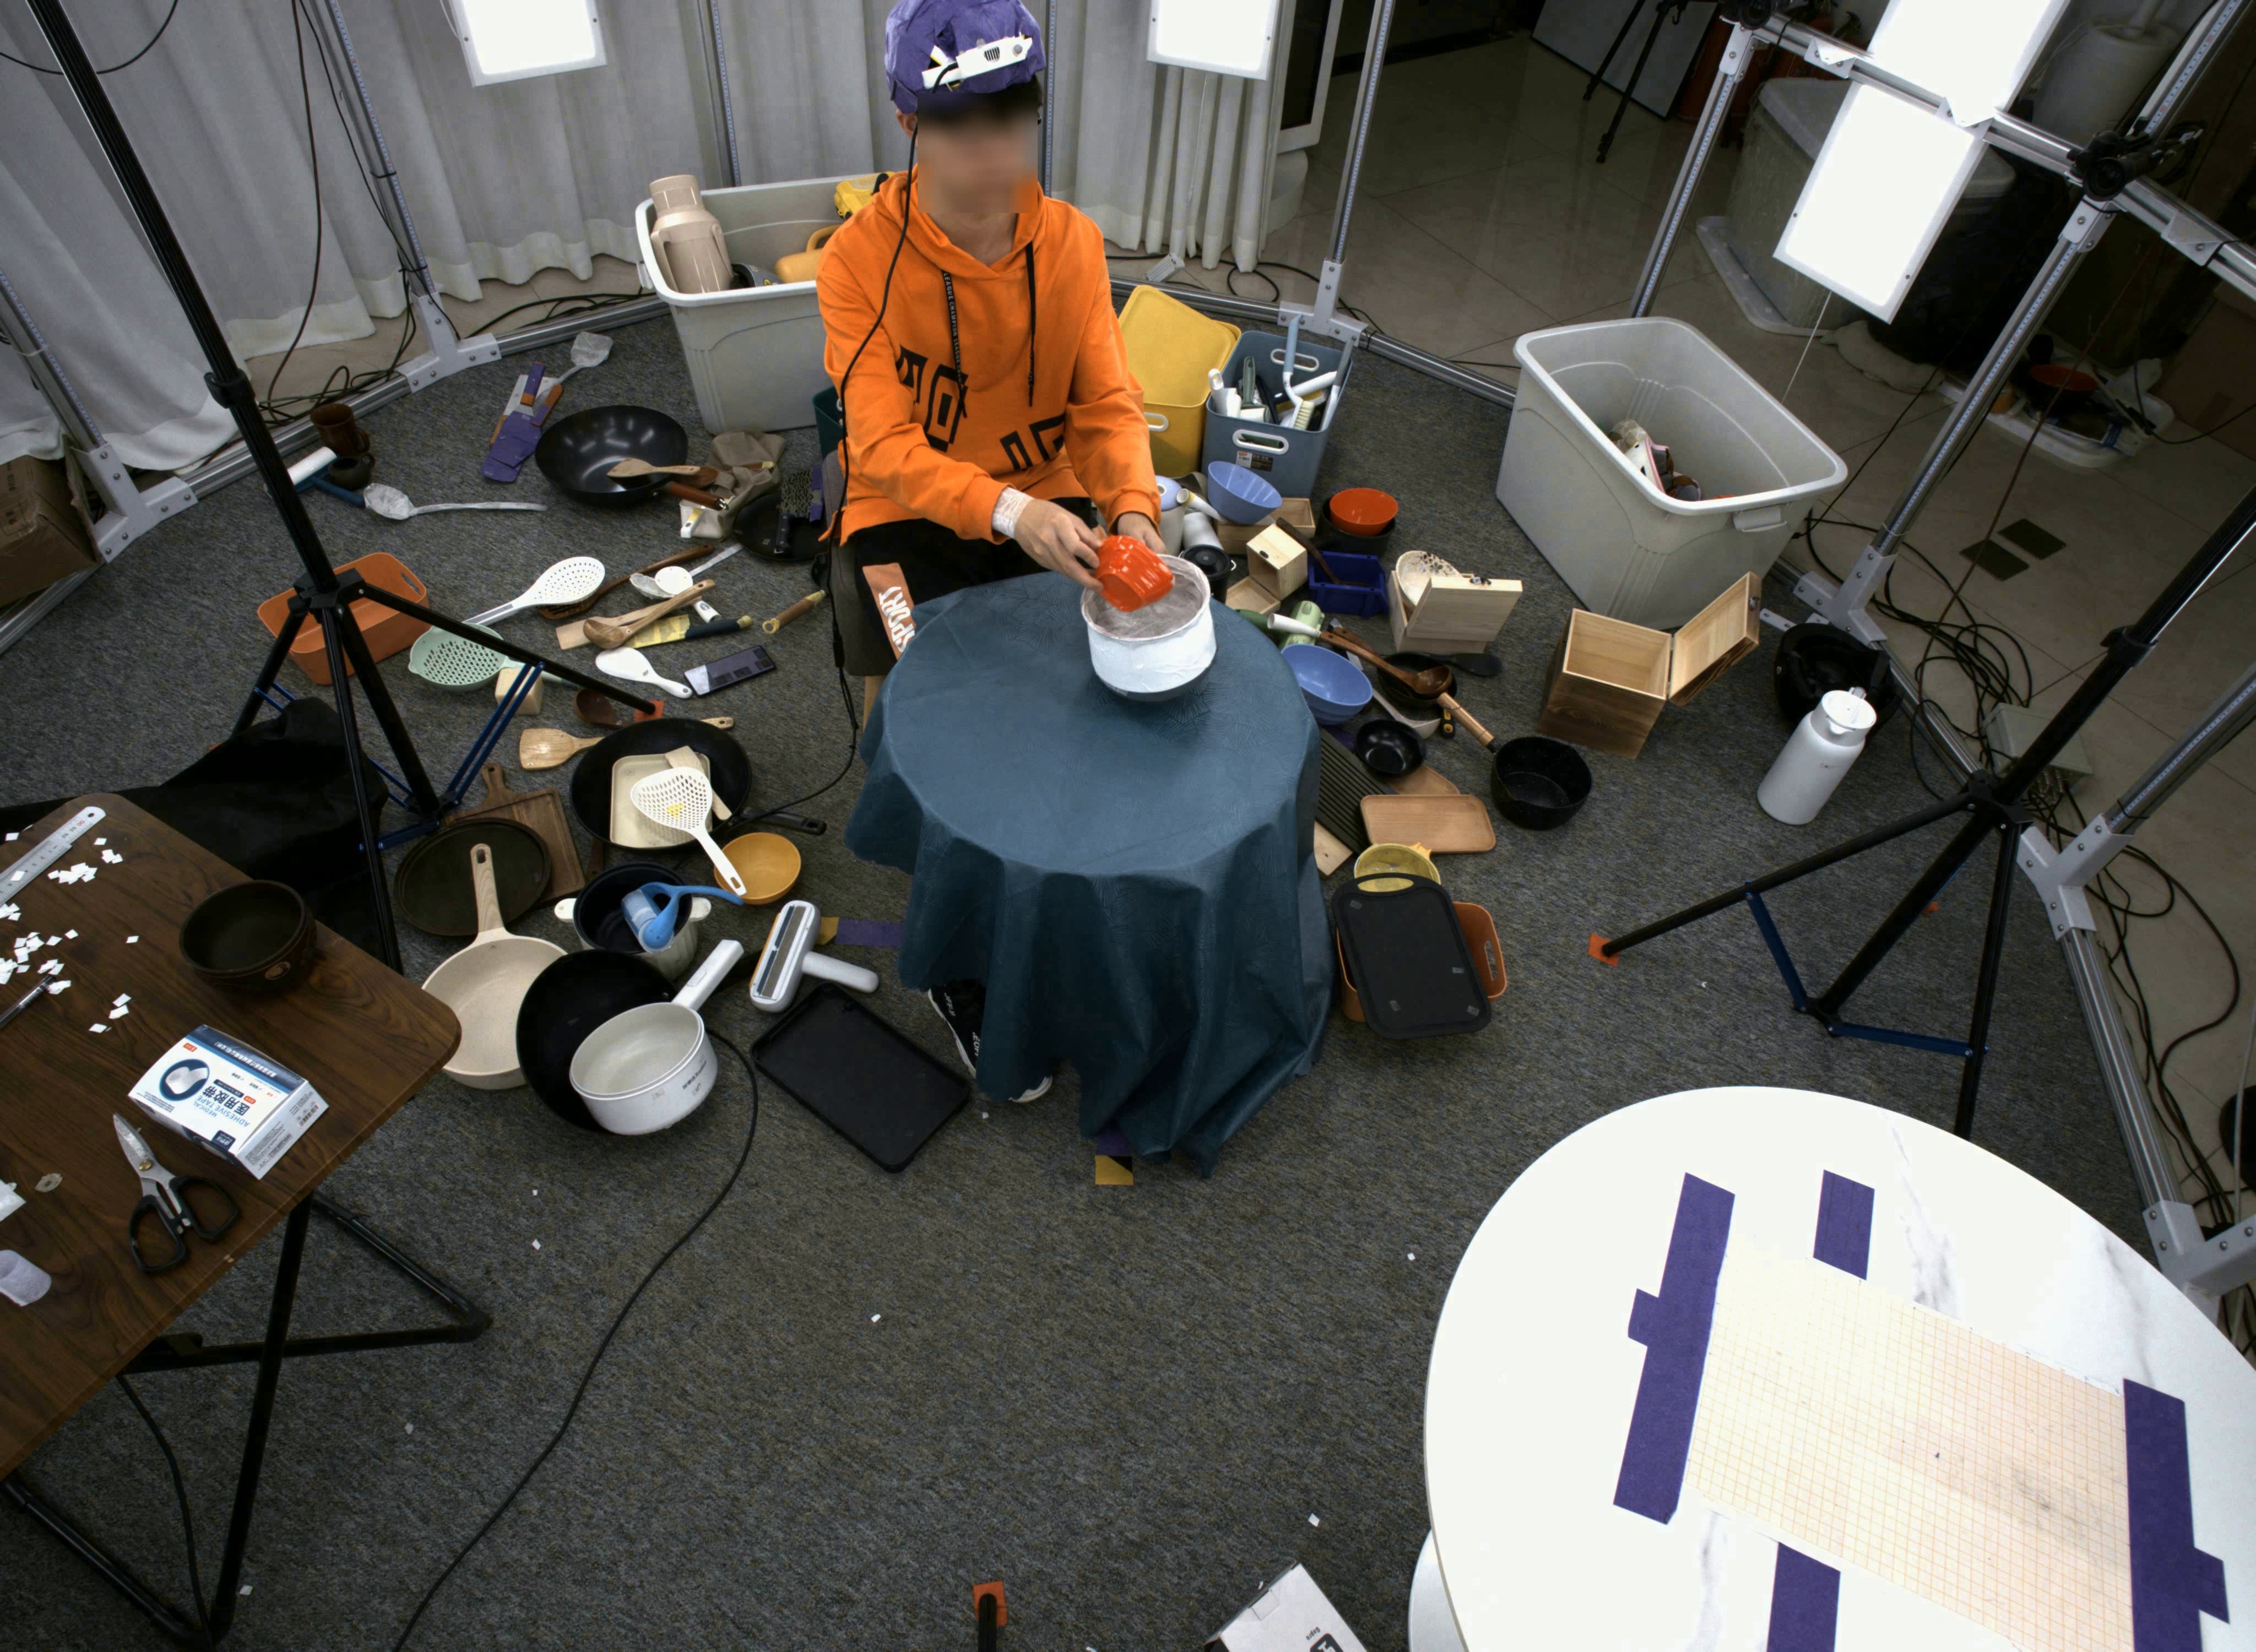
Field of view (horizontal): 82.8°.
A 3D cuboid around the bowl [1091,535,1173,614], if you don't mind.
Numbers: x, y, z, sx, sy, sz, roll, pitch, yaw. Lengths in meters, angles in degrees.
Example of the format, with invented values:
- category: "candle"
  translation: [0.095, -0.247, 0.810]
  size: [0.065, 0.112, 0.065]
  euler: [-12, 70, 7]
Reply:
- category: "bowl"
  translation: [-0.004, -0.325, 1.709]
  size: [0.120, 0.116, 0.052]
  euler: [26, 64, 16]

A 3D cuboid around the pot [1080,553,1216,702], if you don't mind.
- category: "pot"
  translation: [0.026, -0.292, 1.801]
  size: [0.178, 0.133, 0.240]
  euler: [-11, 49, 0]
